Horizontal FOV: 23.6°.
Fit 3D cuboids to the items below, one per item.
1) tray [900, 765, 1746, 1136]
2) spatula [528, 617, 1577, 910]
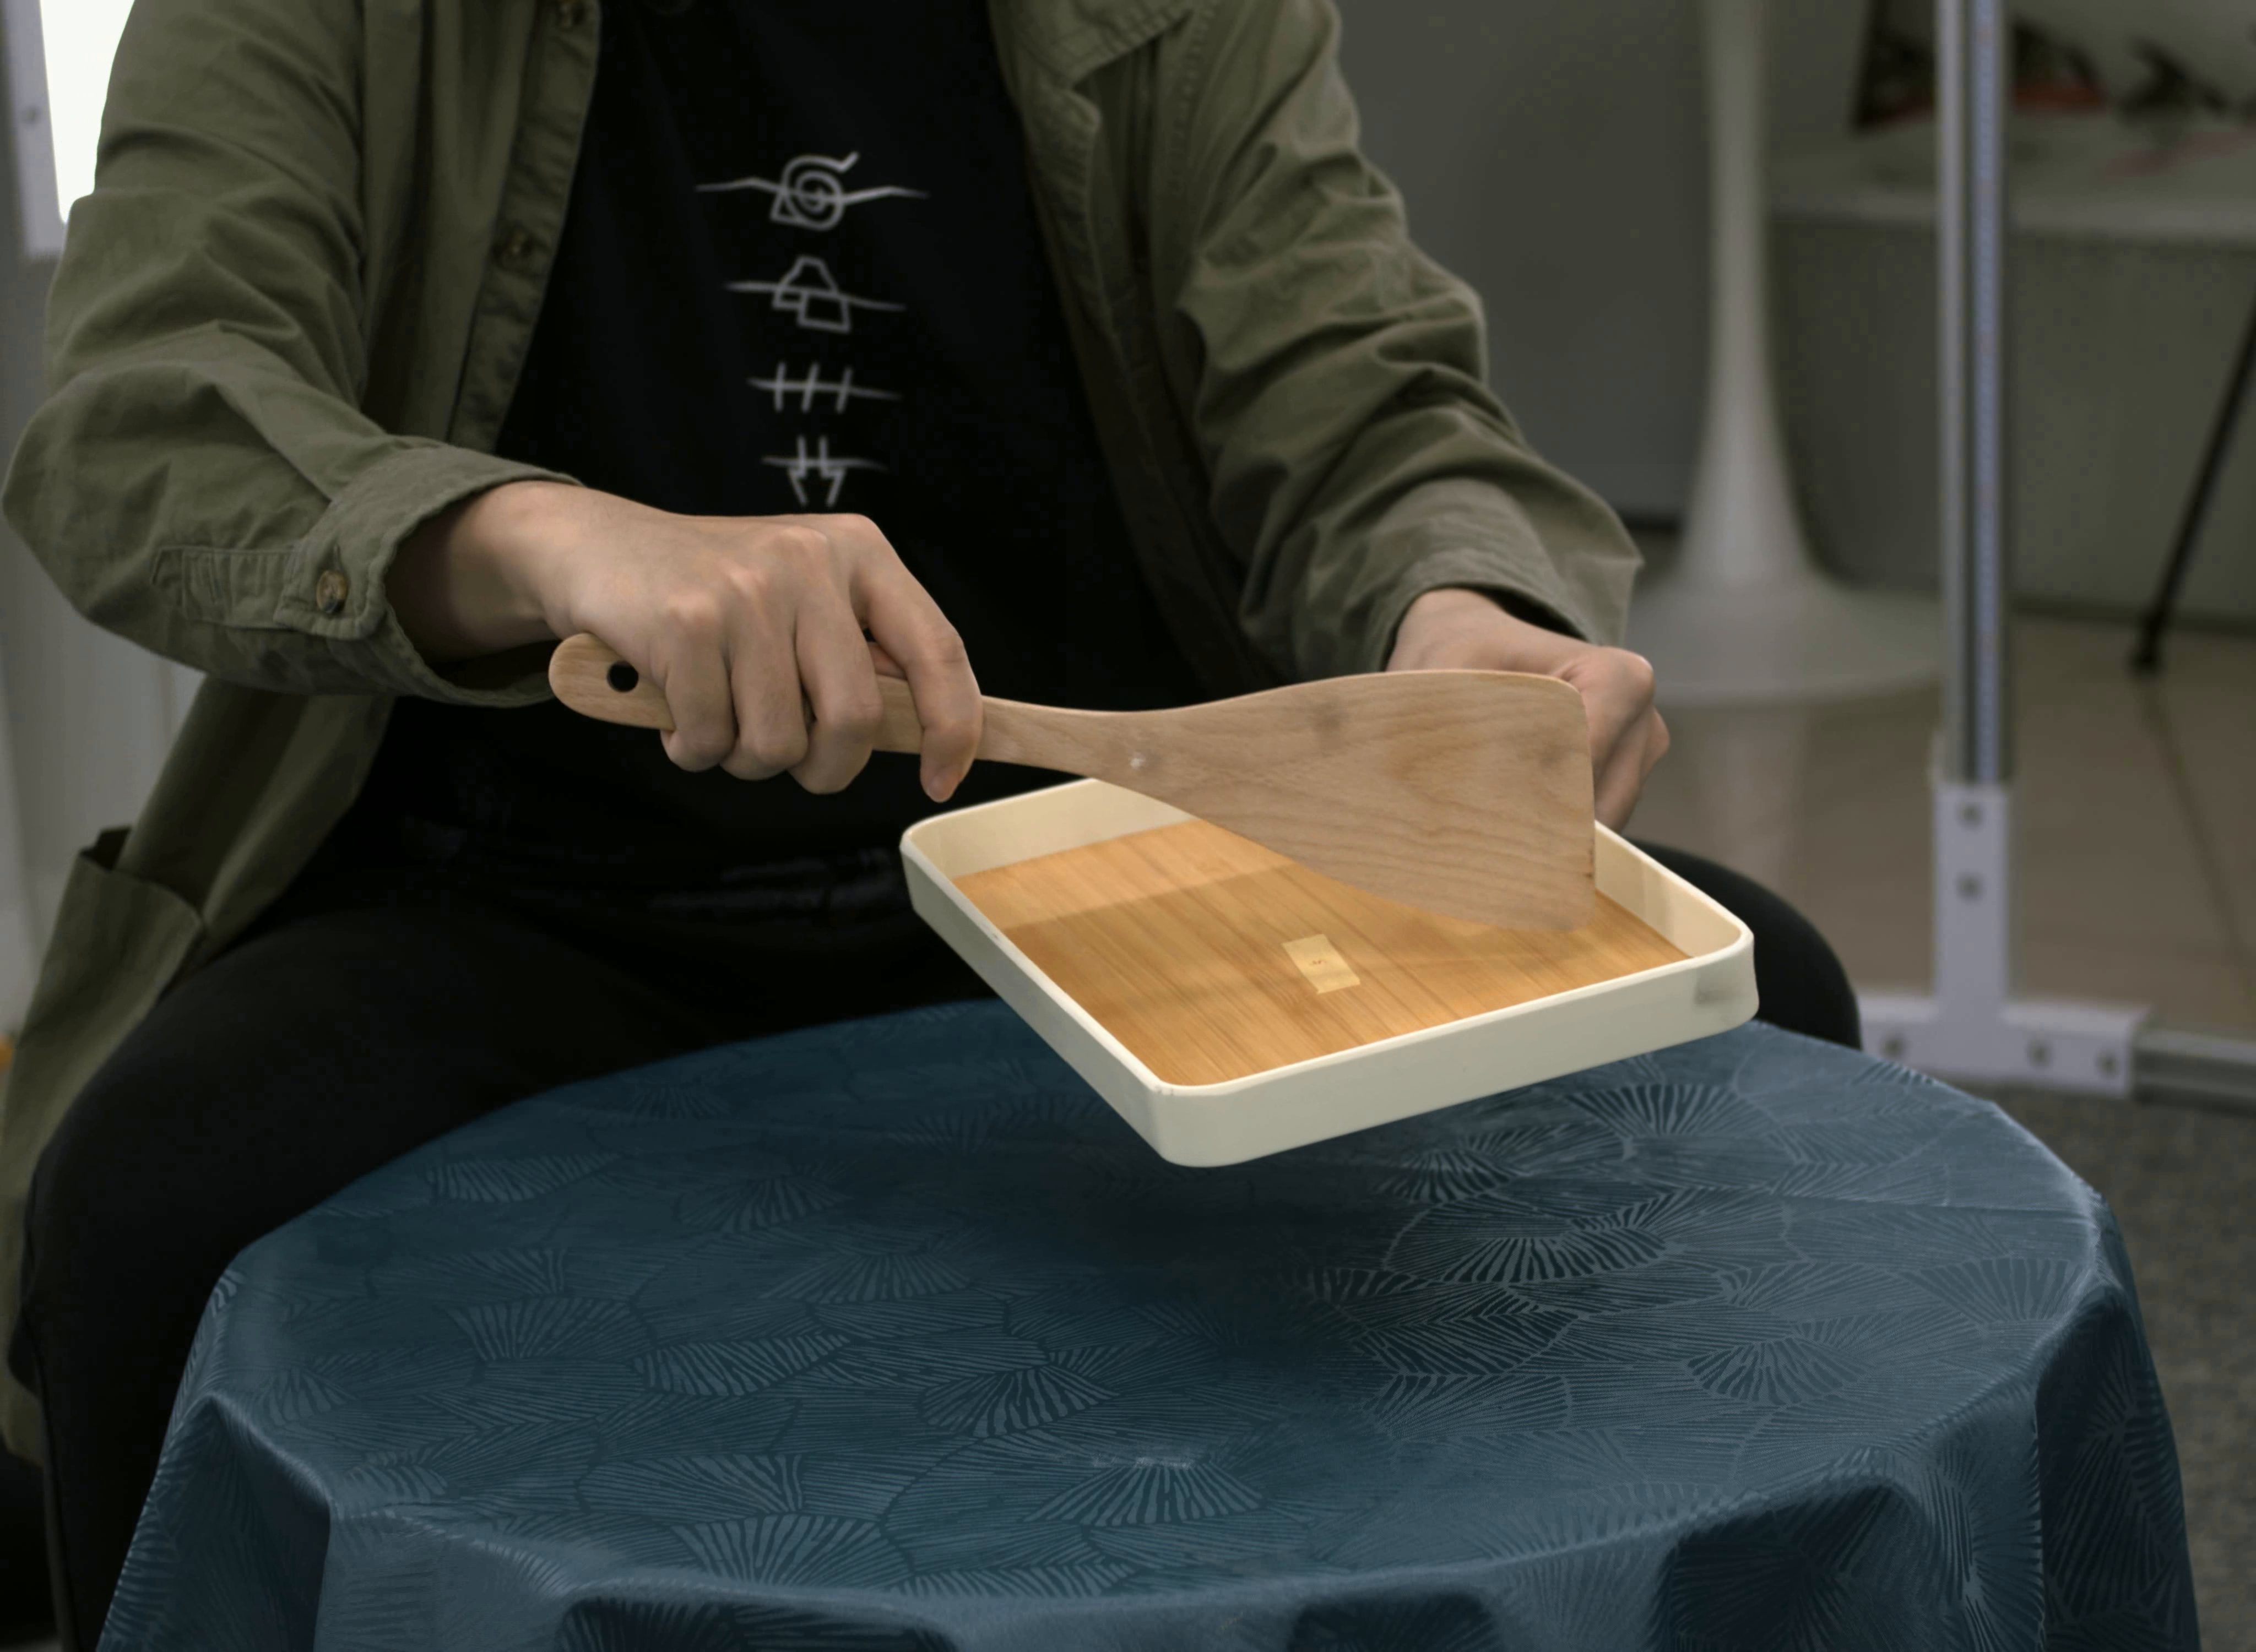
[{"bbox_3d":[0.053,0.024,1.680,0.188,0.027,0.303,-13,17,-13],"label":"tray"},{"bbox_3d":[-0.021,-0.032,1.634,0.324,0.081,0.016,7,8,2],"label":"spatula"}]
